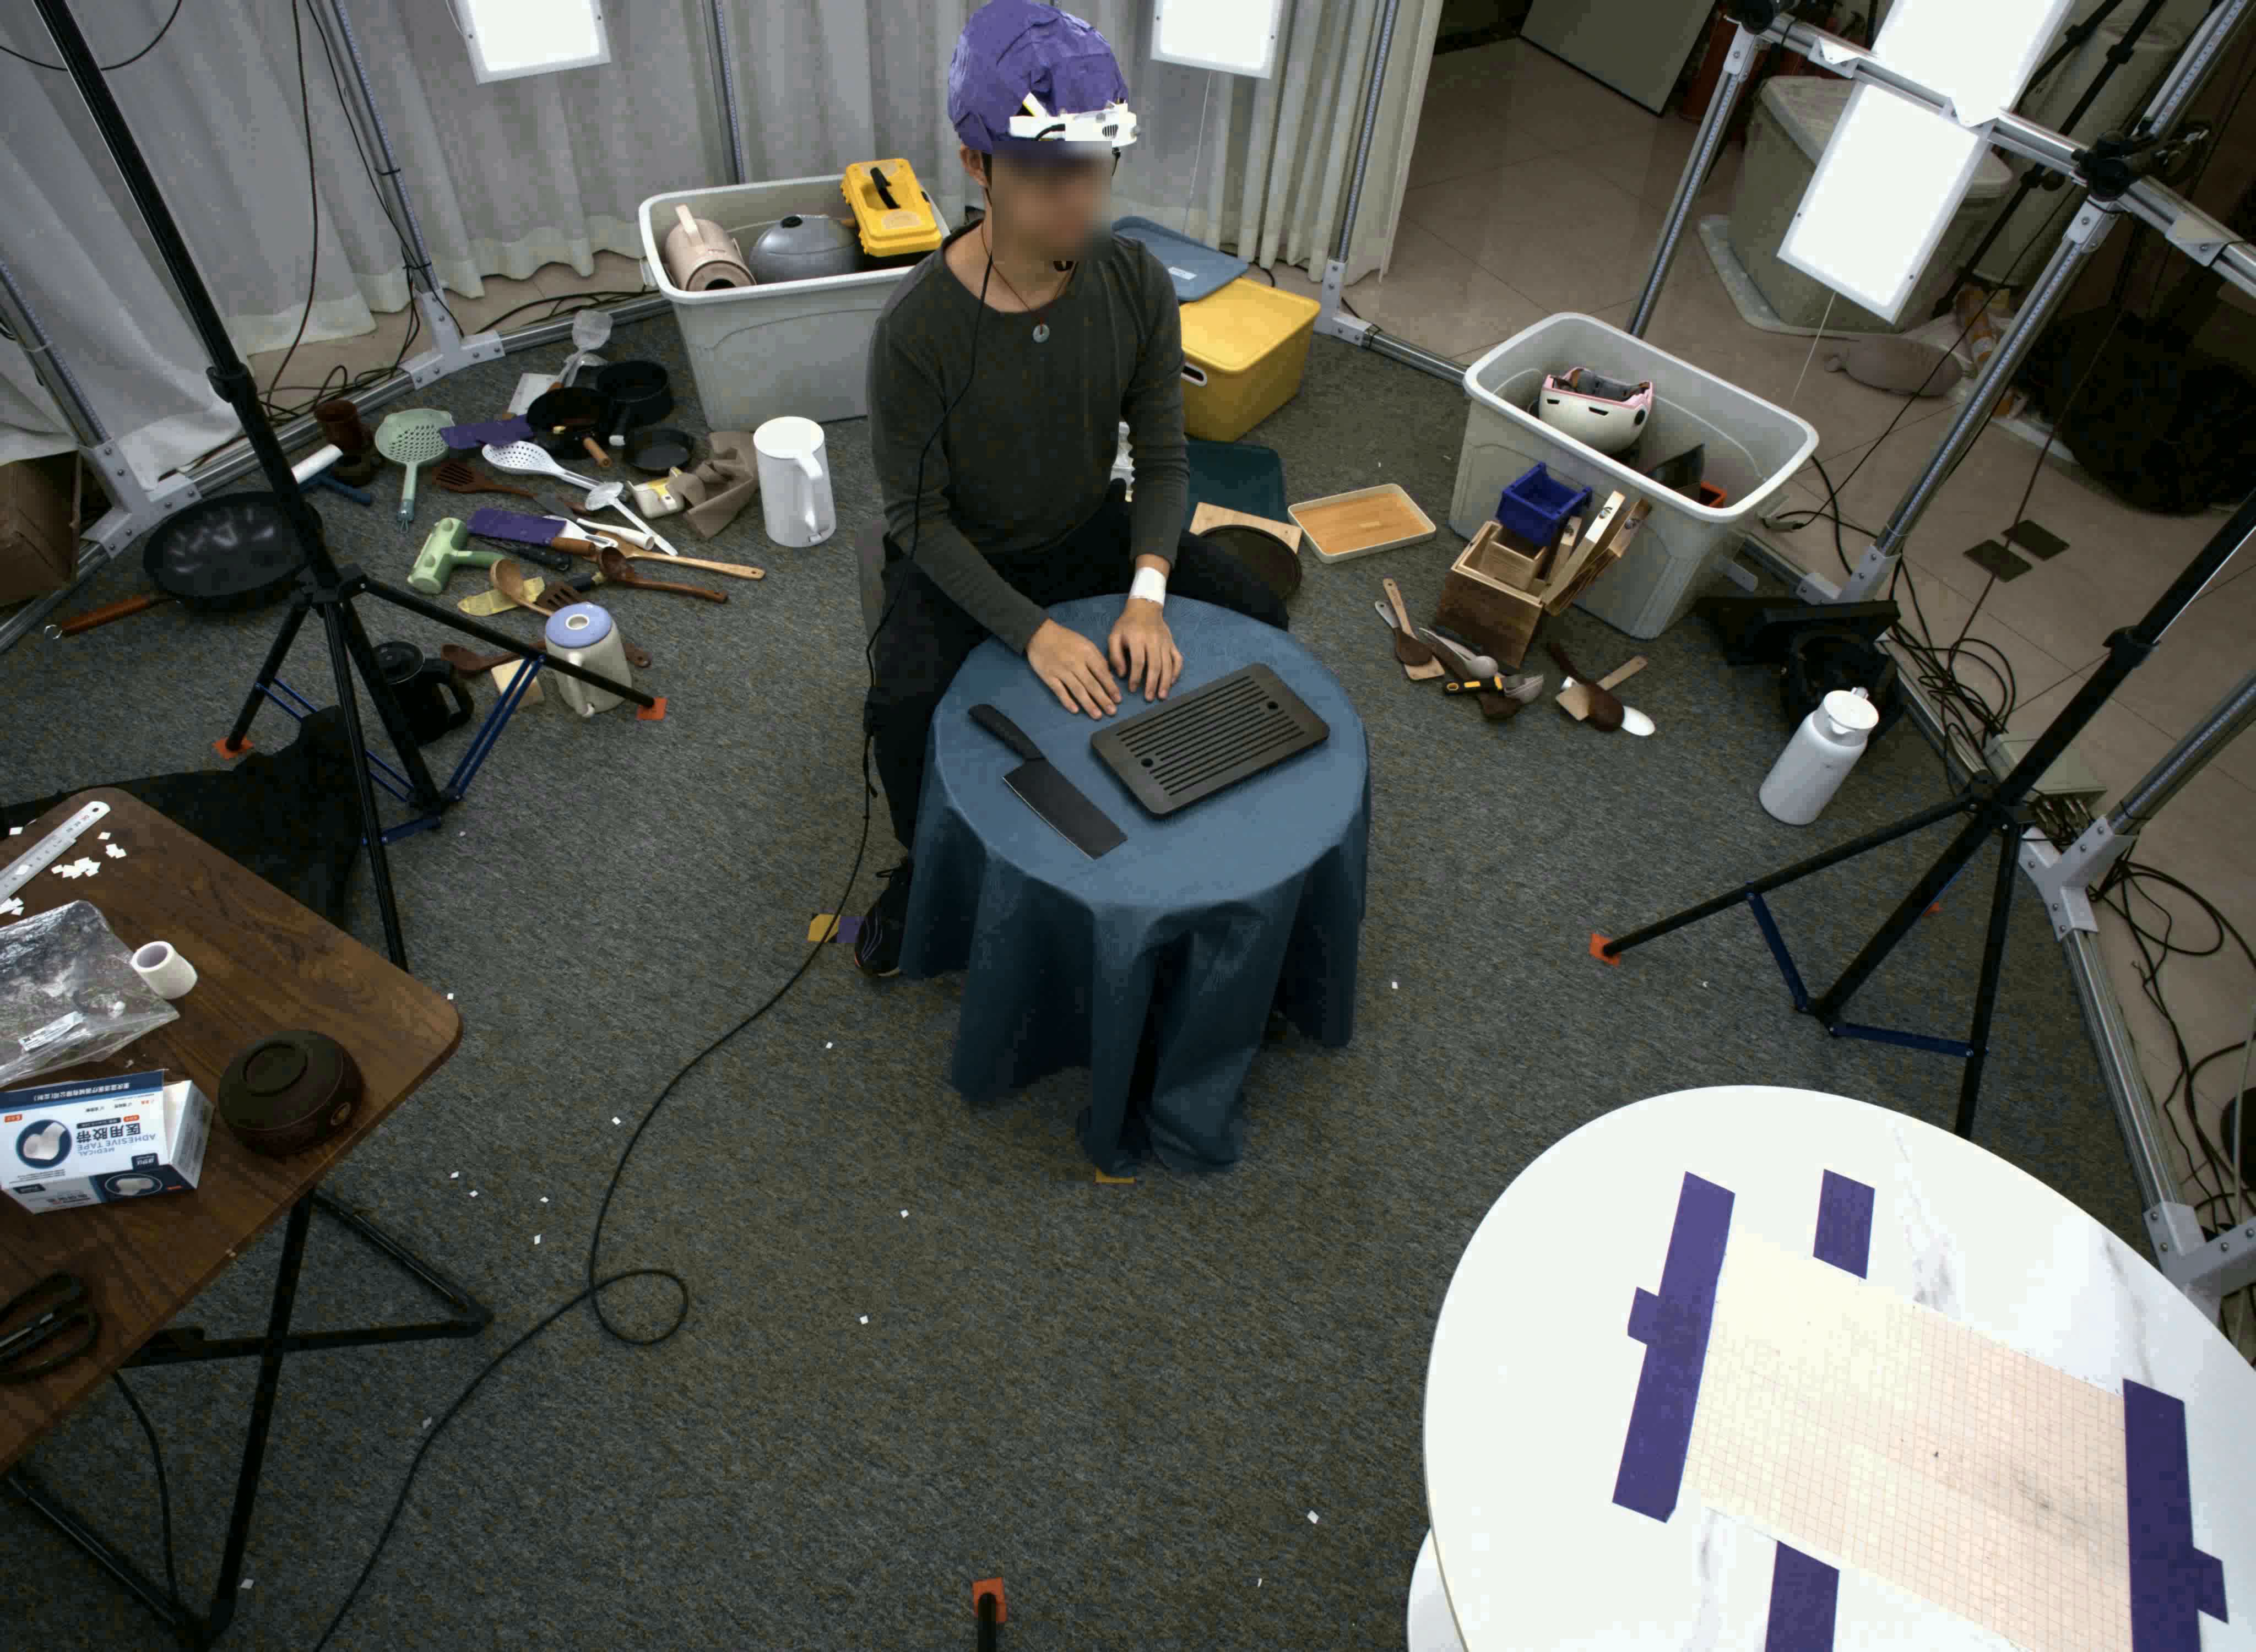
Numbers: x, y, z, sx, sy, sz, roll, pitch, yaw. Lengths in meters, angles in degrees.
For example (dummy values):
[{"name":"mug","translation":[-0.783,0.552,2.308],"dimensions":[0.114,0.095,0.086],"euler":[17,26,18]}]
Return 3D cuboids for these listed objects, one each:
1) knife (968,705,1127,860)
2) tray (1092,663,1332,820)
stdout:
[{"name":"knife","translation":[-0.119,-0.064,1.706],"dimensions":[0.081,0.020,0.308],"euler":[-28,58,-24]},{"name":"tray","translation":[0.116,-0.120,1.768],"dimensions":[0.307,0.018,0.173],"euler":[-25,55,-23]}]
